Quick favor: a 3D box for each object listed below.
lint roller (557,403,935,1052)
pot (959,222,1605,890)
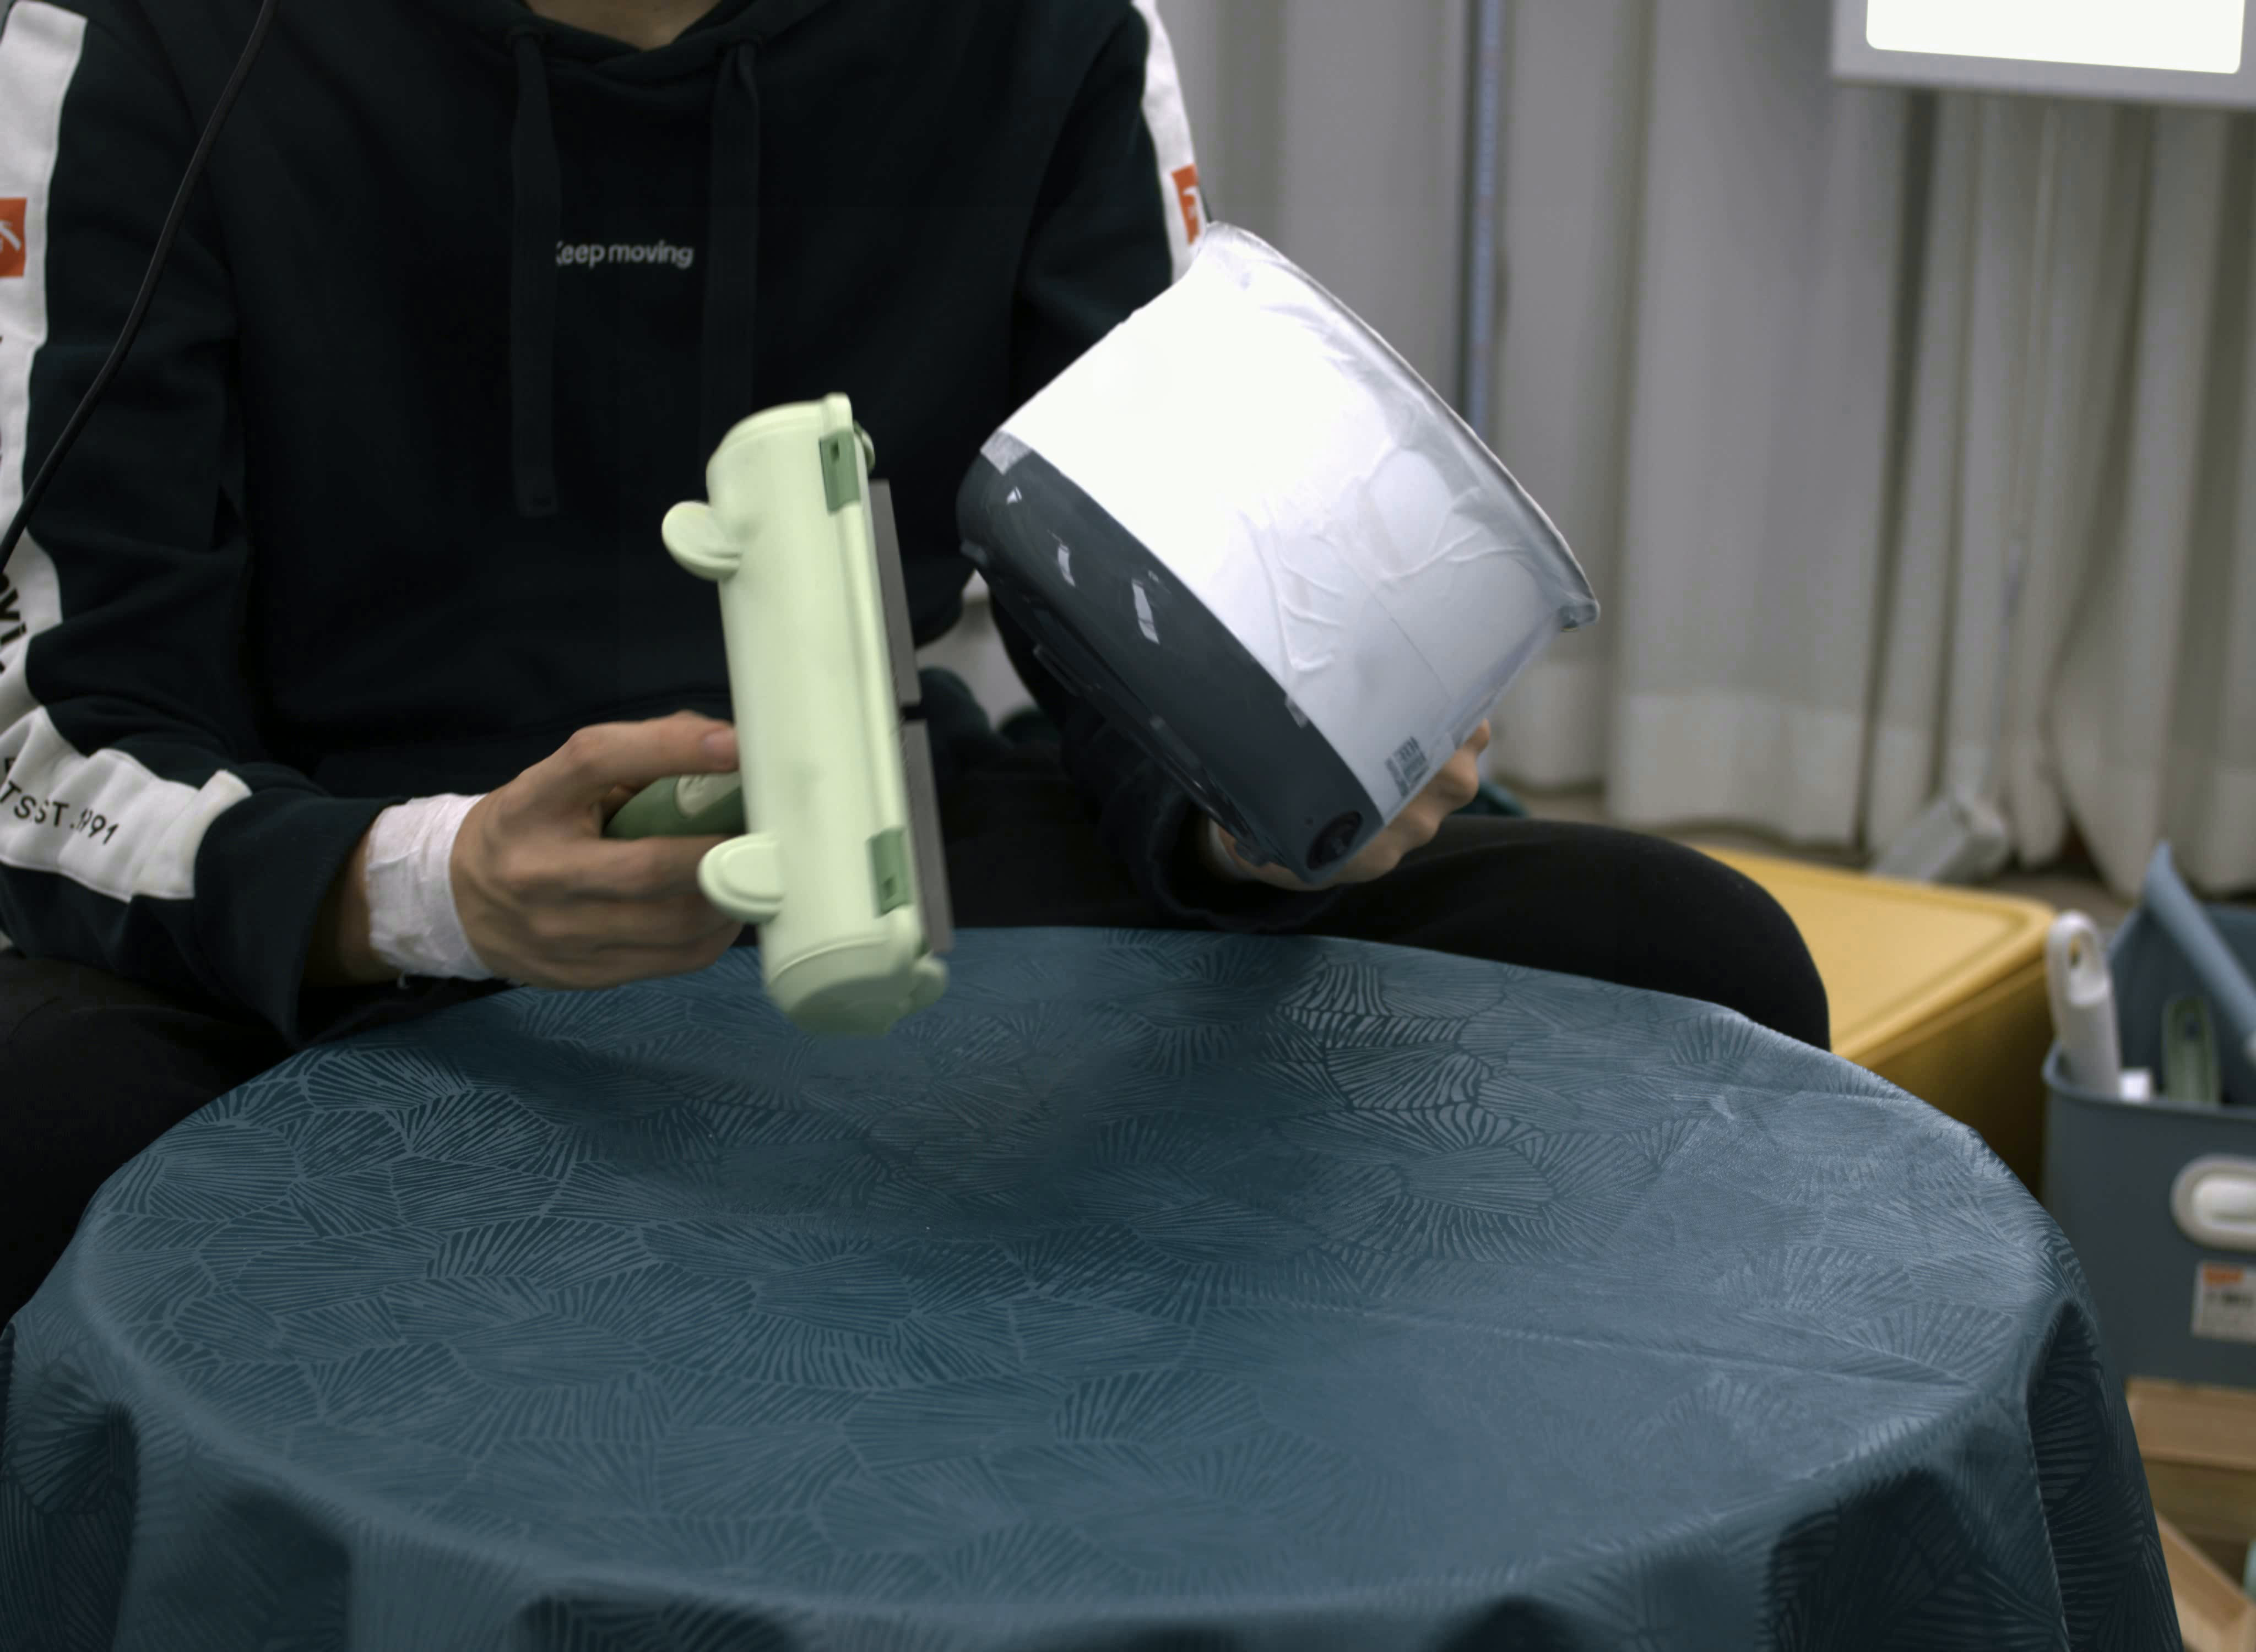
[{"bbox_3d":[-0.139,-0.012,1.630,0.182,0.197,0.083,-27,-30,37],"label":"lint roller"},{"bbox_3d":[0.051,-0.073,1.696,0.177,0.136,0.236,44,-4,24],"label":"pot"}]
